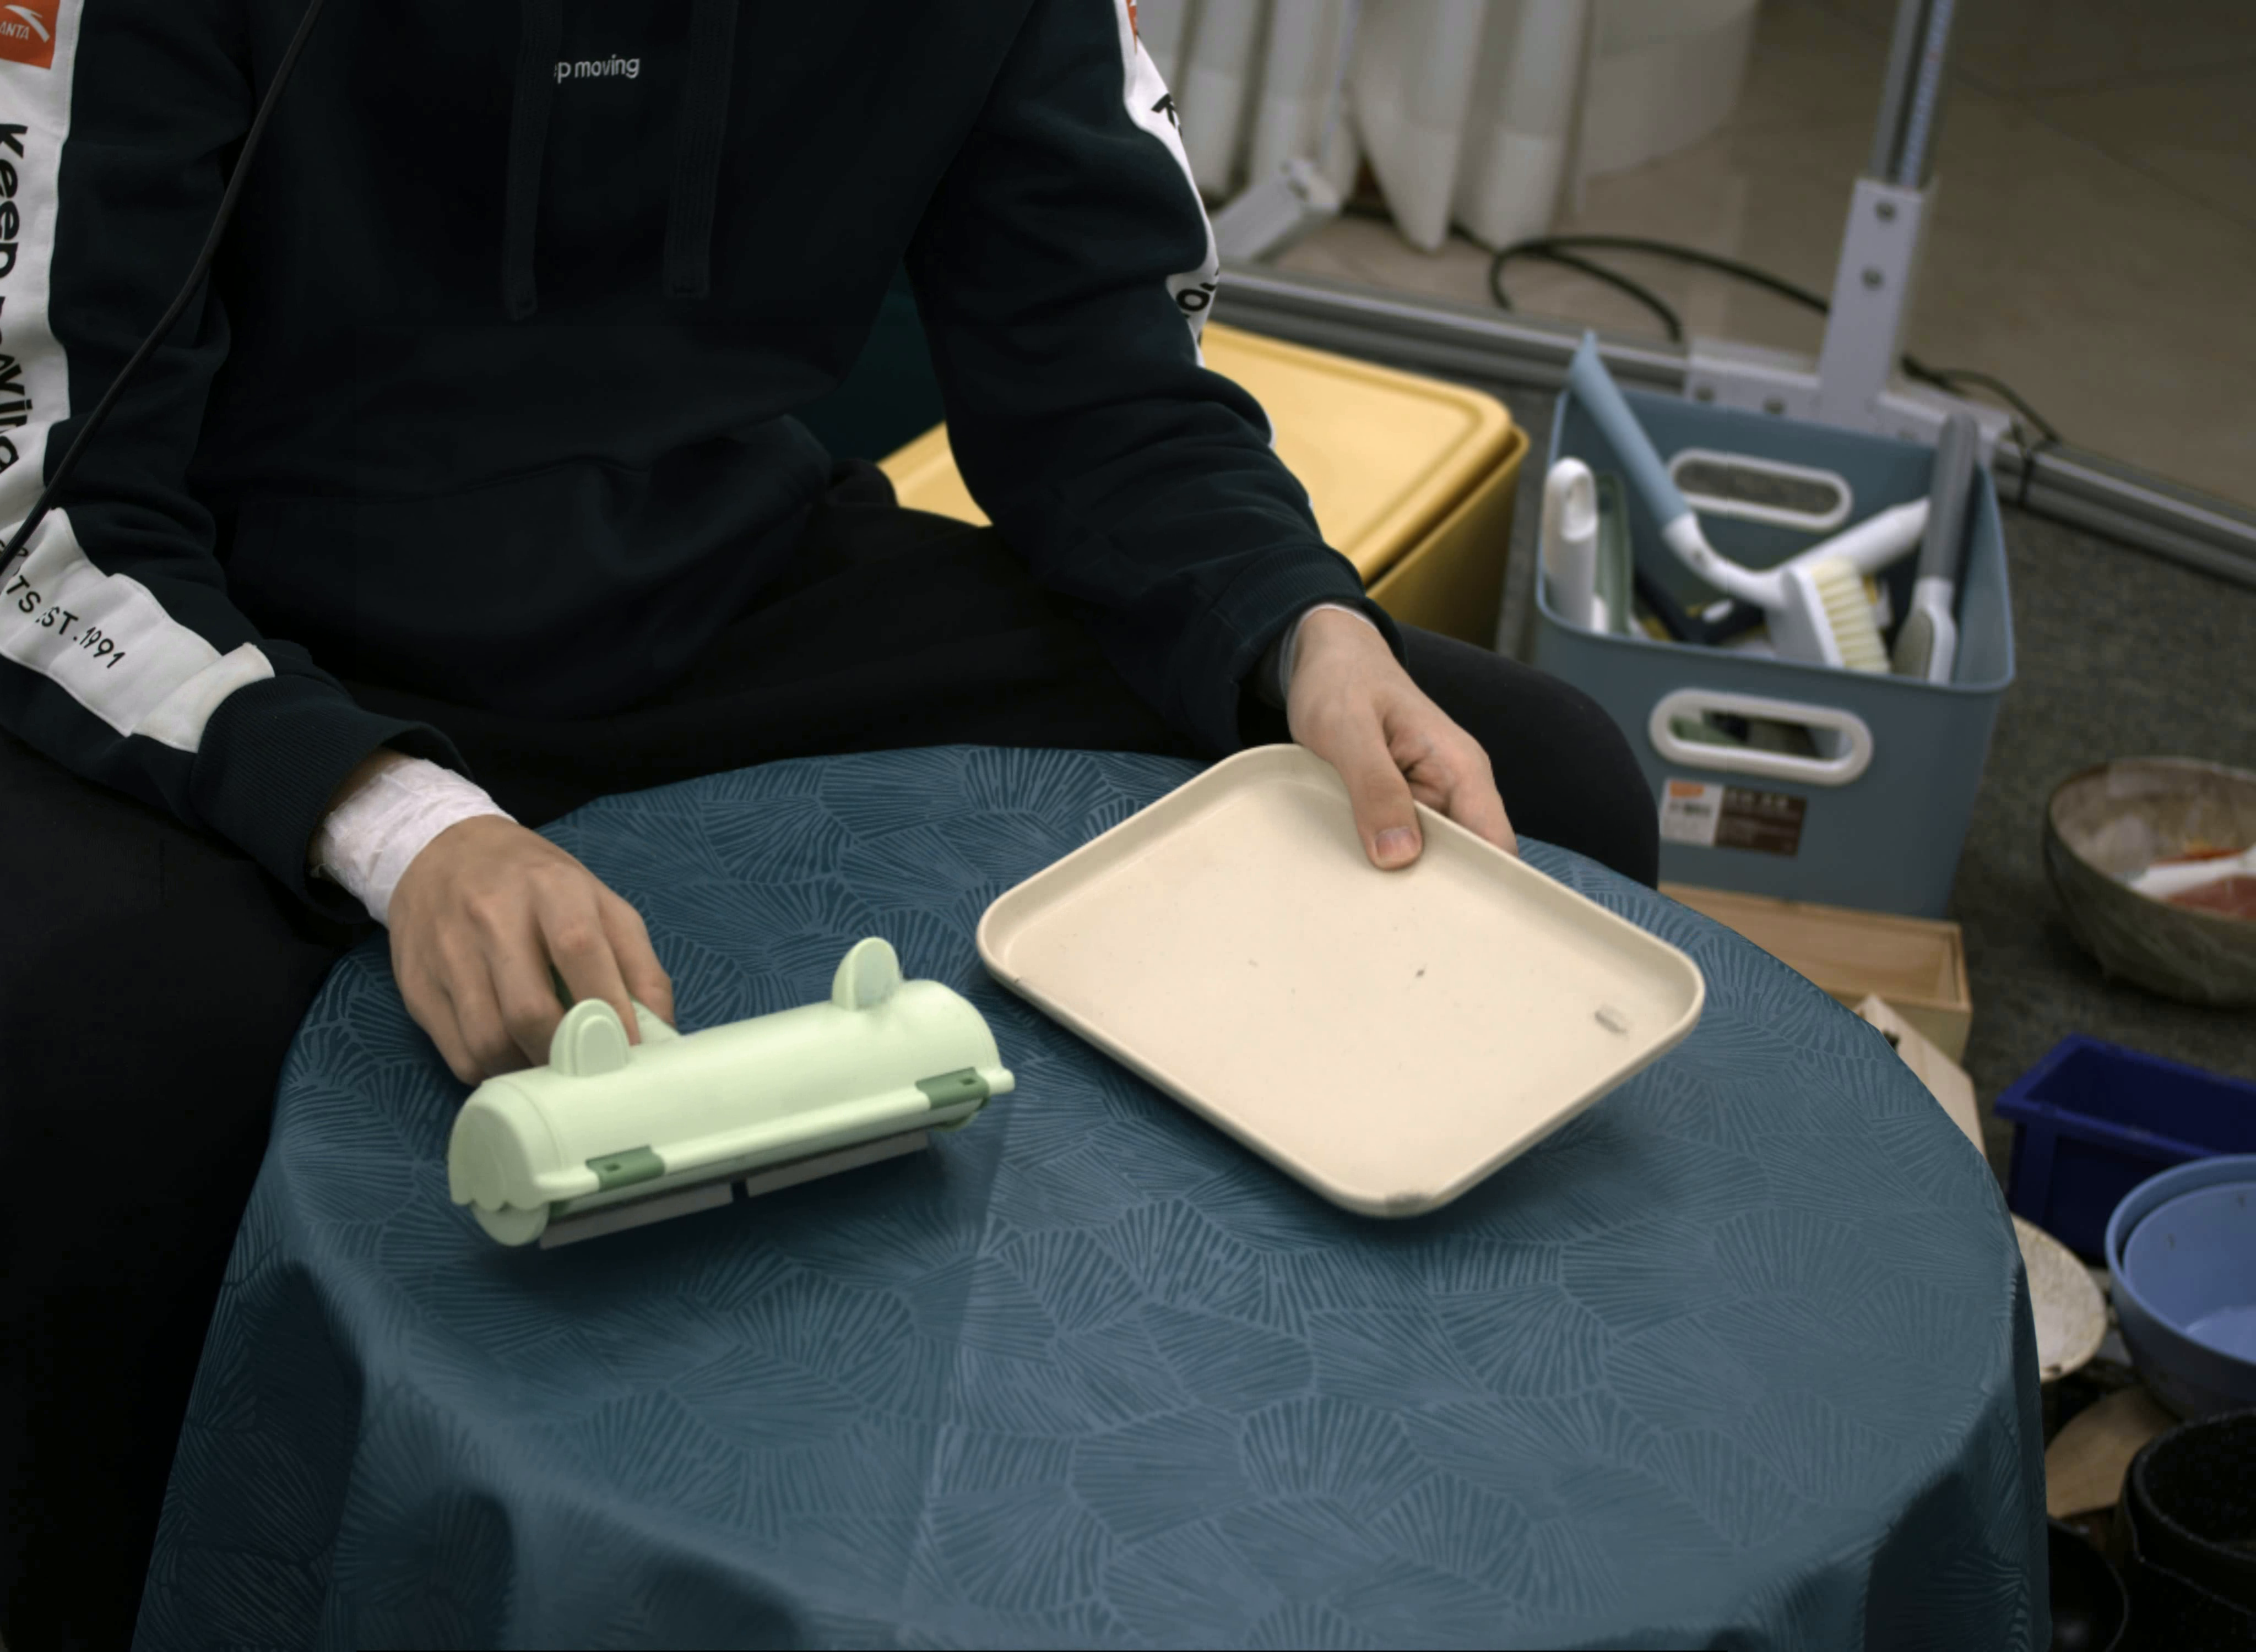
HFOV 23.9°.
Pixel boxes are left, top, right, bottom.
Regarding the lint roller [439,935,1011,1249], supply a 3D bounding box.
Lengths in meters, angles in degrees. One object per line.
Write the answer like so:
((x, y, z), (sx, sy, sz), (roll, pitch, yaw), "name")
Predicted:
((-0.165, 0.061, 1.779), (0.197, 0.082, 0.185), (-12, 36, -39), "lint roller")

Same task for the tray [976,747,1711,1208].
((0.075, 0.052, 1.885), (0.171, 0.017, 0.241), (-31, 41, -30), "tray")
